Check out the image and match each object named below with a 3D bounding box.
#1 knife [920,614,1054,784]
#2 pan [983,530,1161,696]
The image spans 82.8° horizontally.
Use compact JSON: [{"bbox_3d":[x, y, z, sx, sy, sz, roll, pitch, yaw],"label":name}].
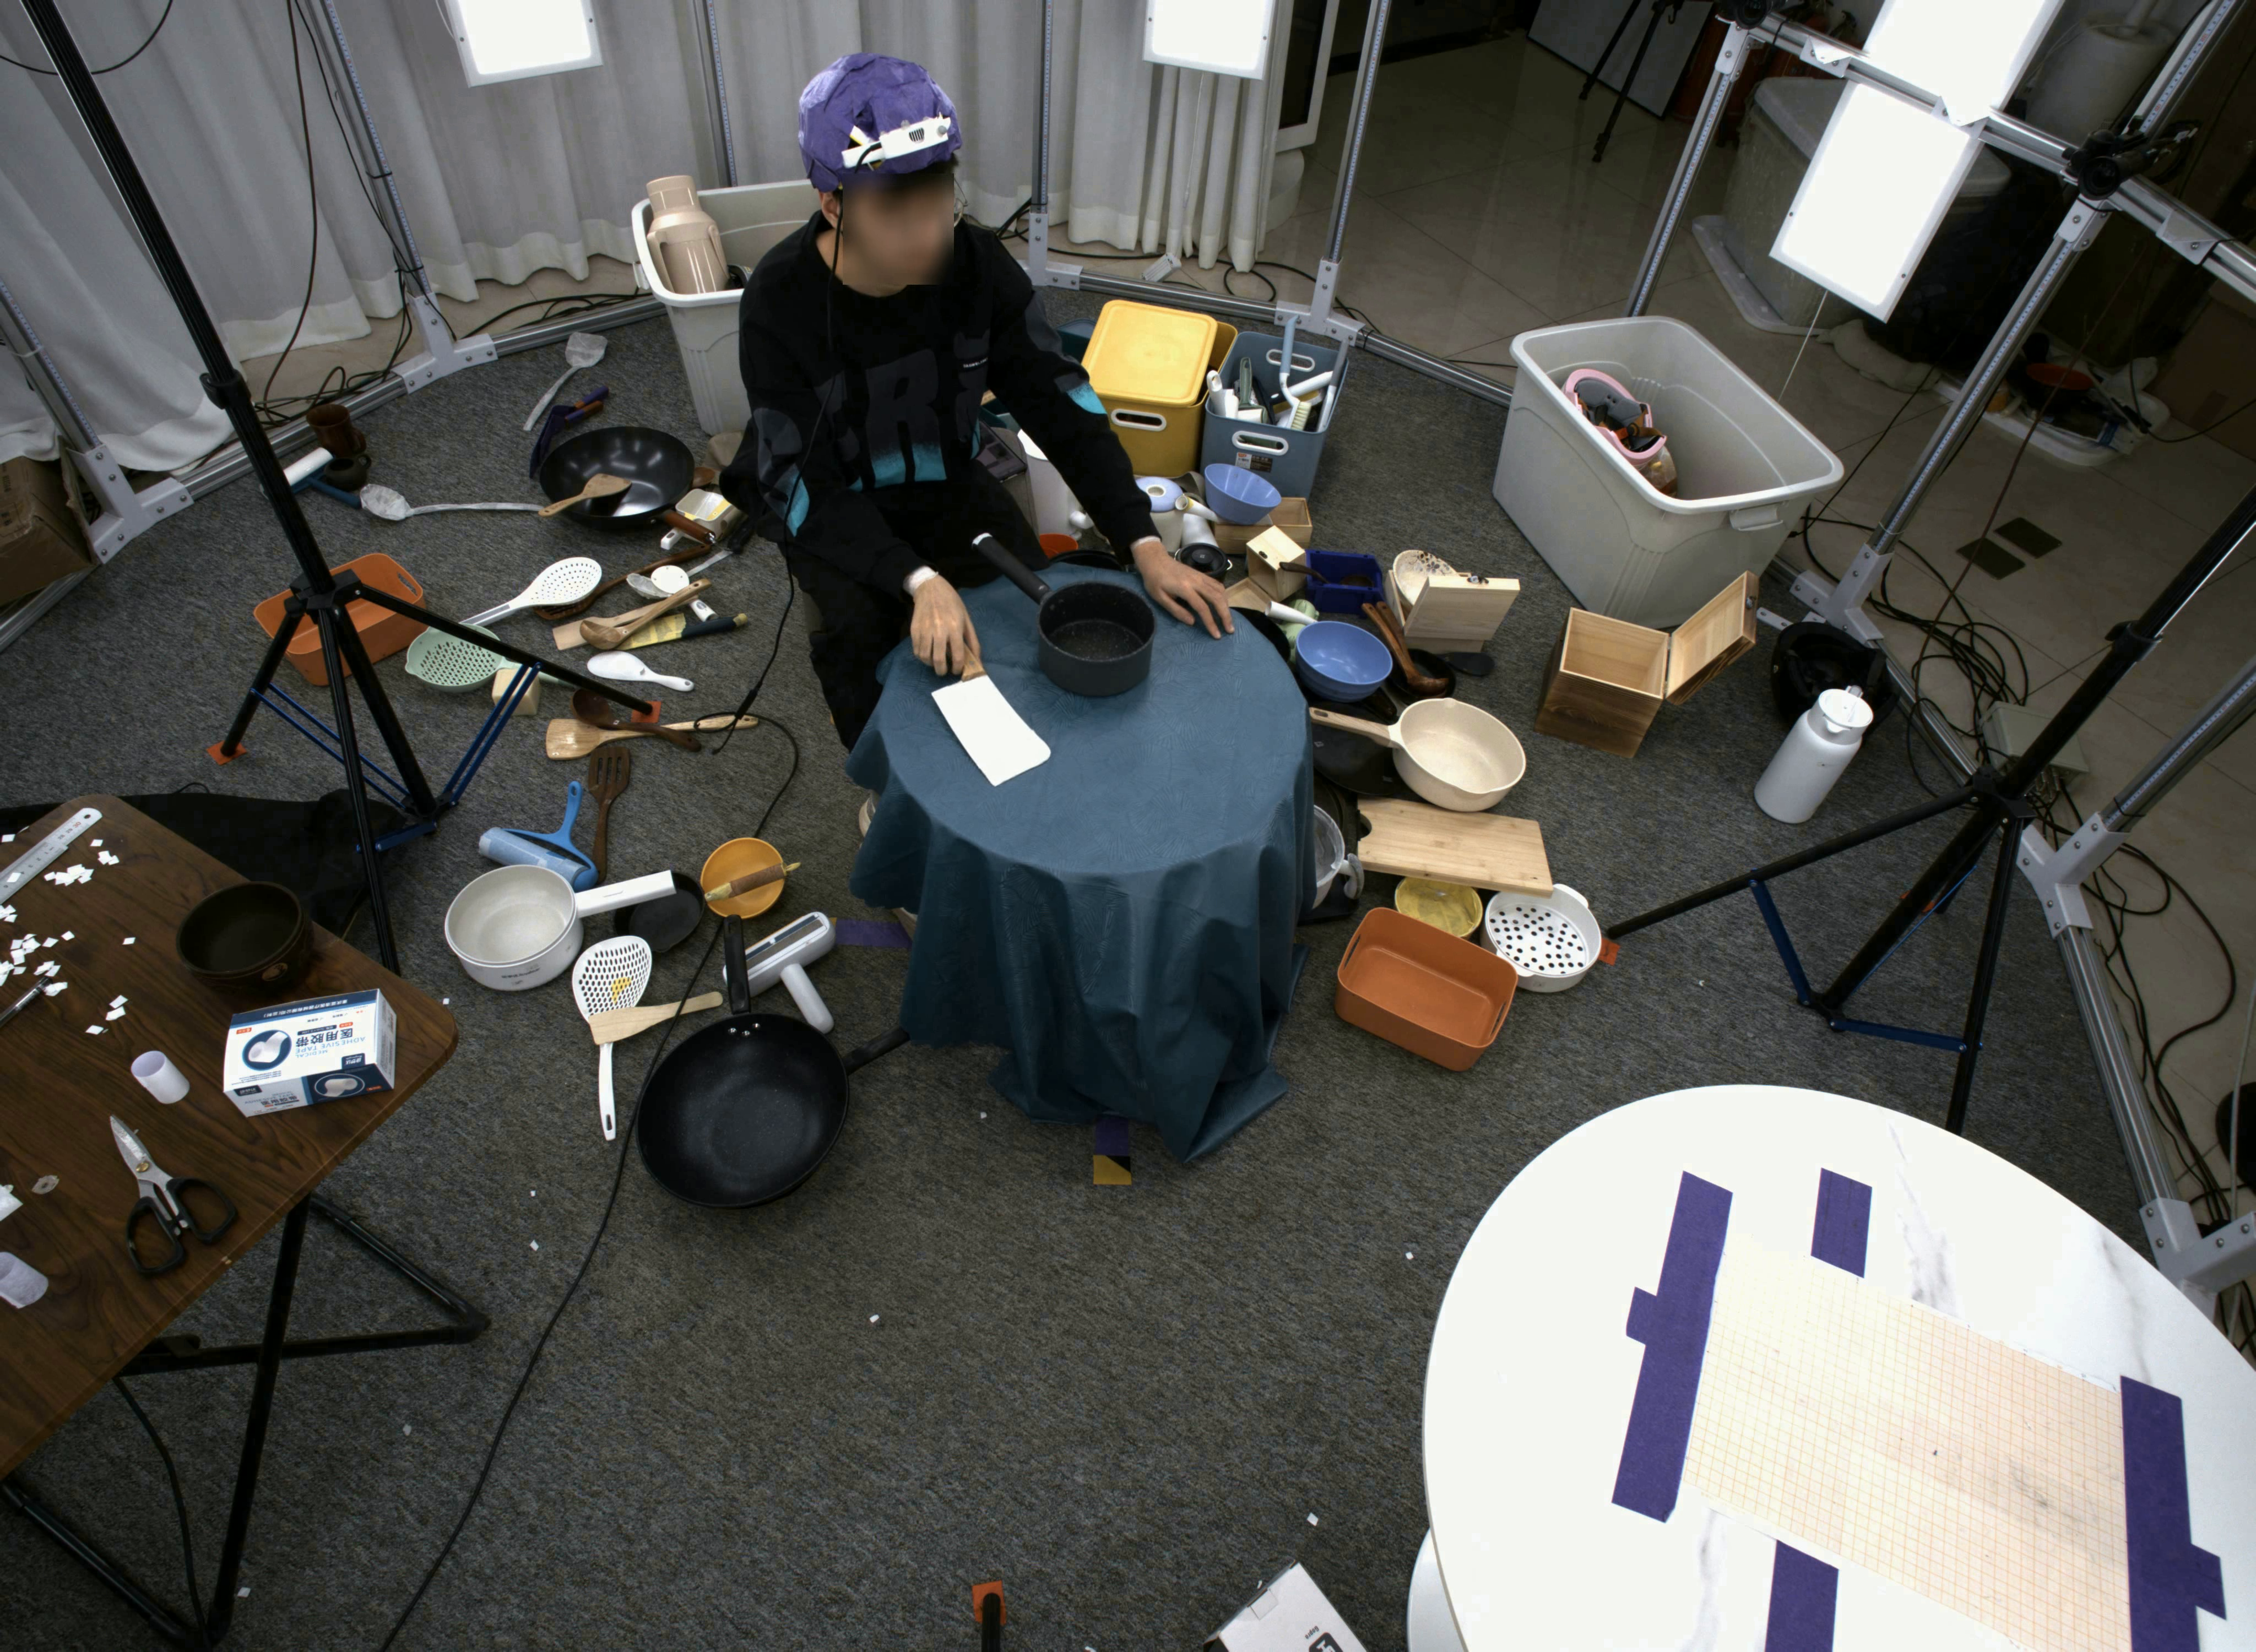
[{"bbox_3d":[-0.210,-0.184,1.796,0.114,0.021,0.322,-20,58,-20],"label":"knife"},{"bbox_3d":[-0.097,-0.316,1.882,0.173,0.084,0.334,-33,59,-30],"label":"pan"}]
